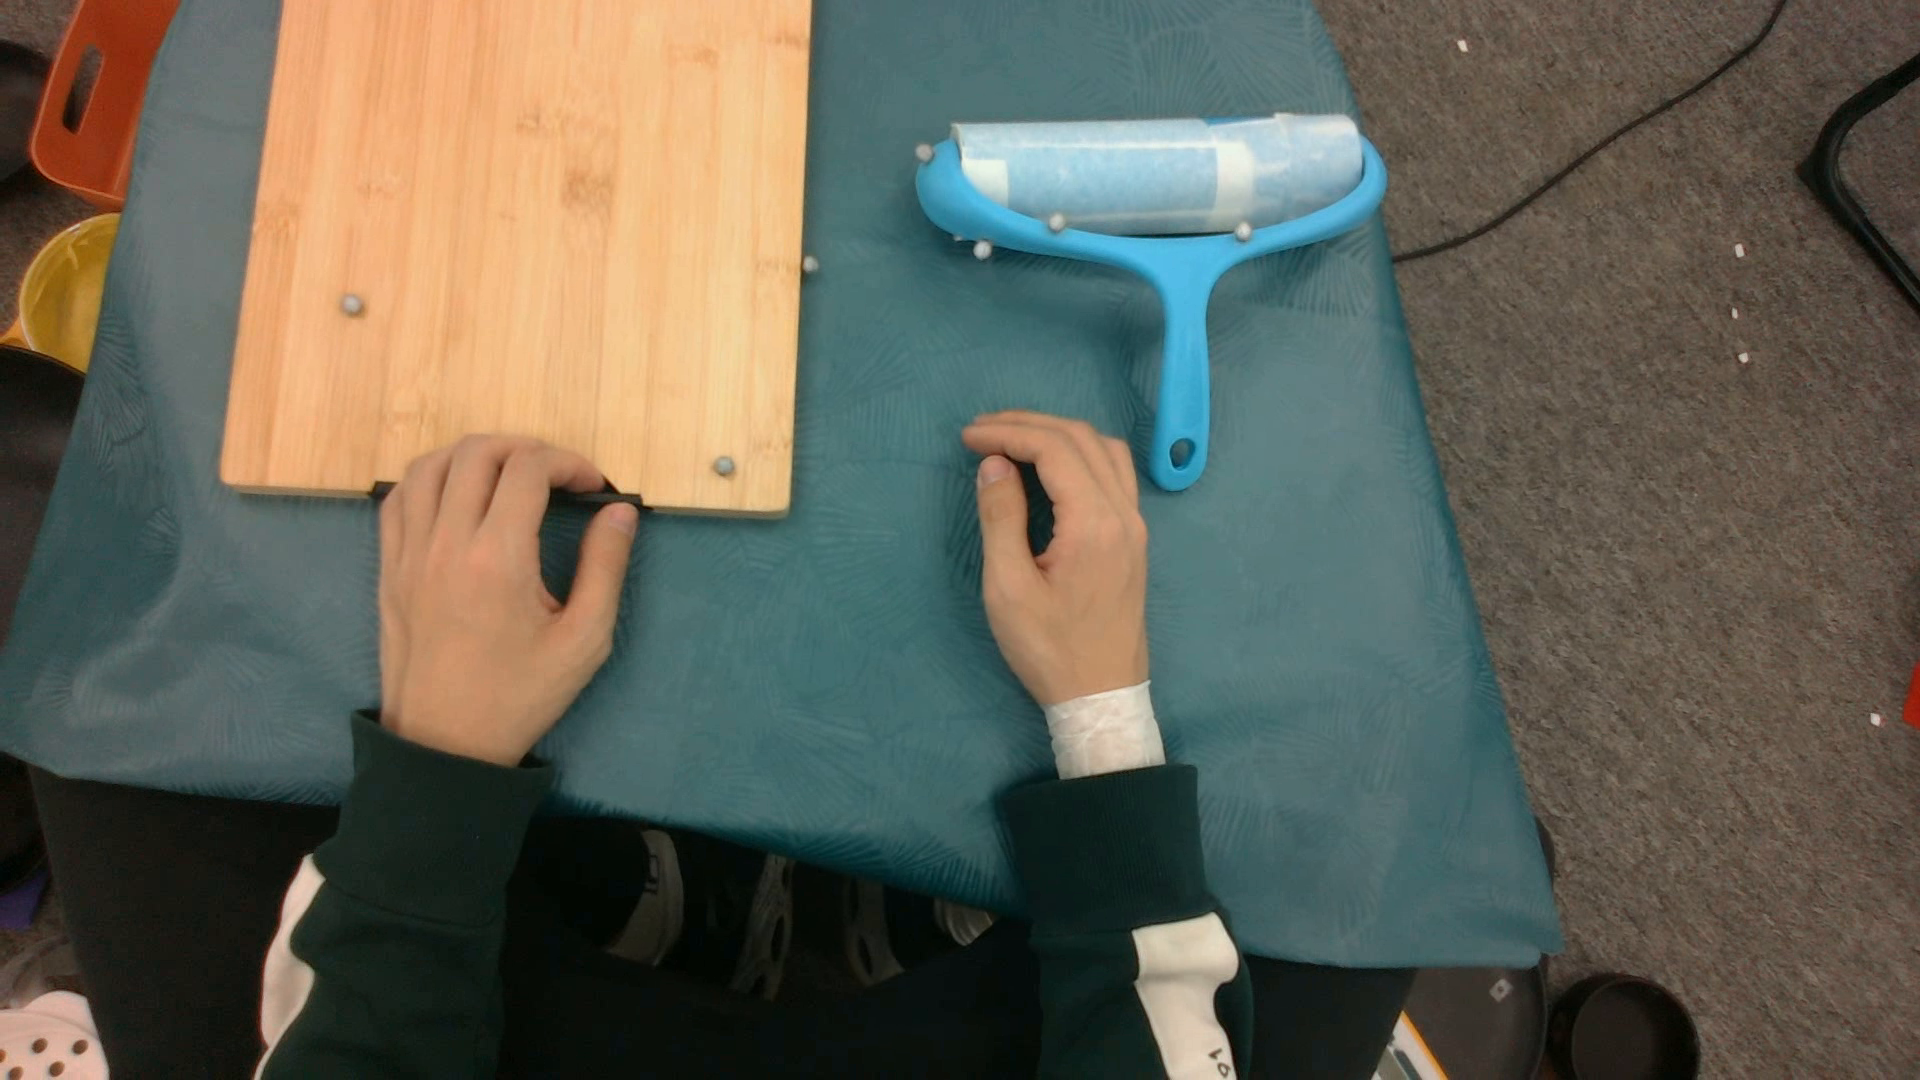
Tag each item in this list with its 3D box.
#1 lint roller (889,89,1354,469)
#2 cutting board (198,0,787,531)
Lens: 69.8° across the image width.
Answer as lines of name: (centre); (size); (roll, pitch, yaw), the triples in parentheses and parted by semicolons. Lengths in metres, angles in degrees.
lint roller: (0.090, -0.128, 0.656); (0.229, 0.068, 0.180); (-8, 79, -11)
cutting board: (-0.206, -0.176, 0.644); (0.251, 0.023, 0.349); (0, 78, -8)
